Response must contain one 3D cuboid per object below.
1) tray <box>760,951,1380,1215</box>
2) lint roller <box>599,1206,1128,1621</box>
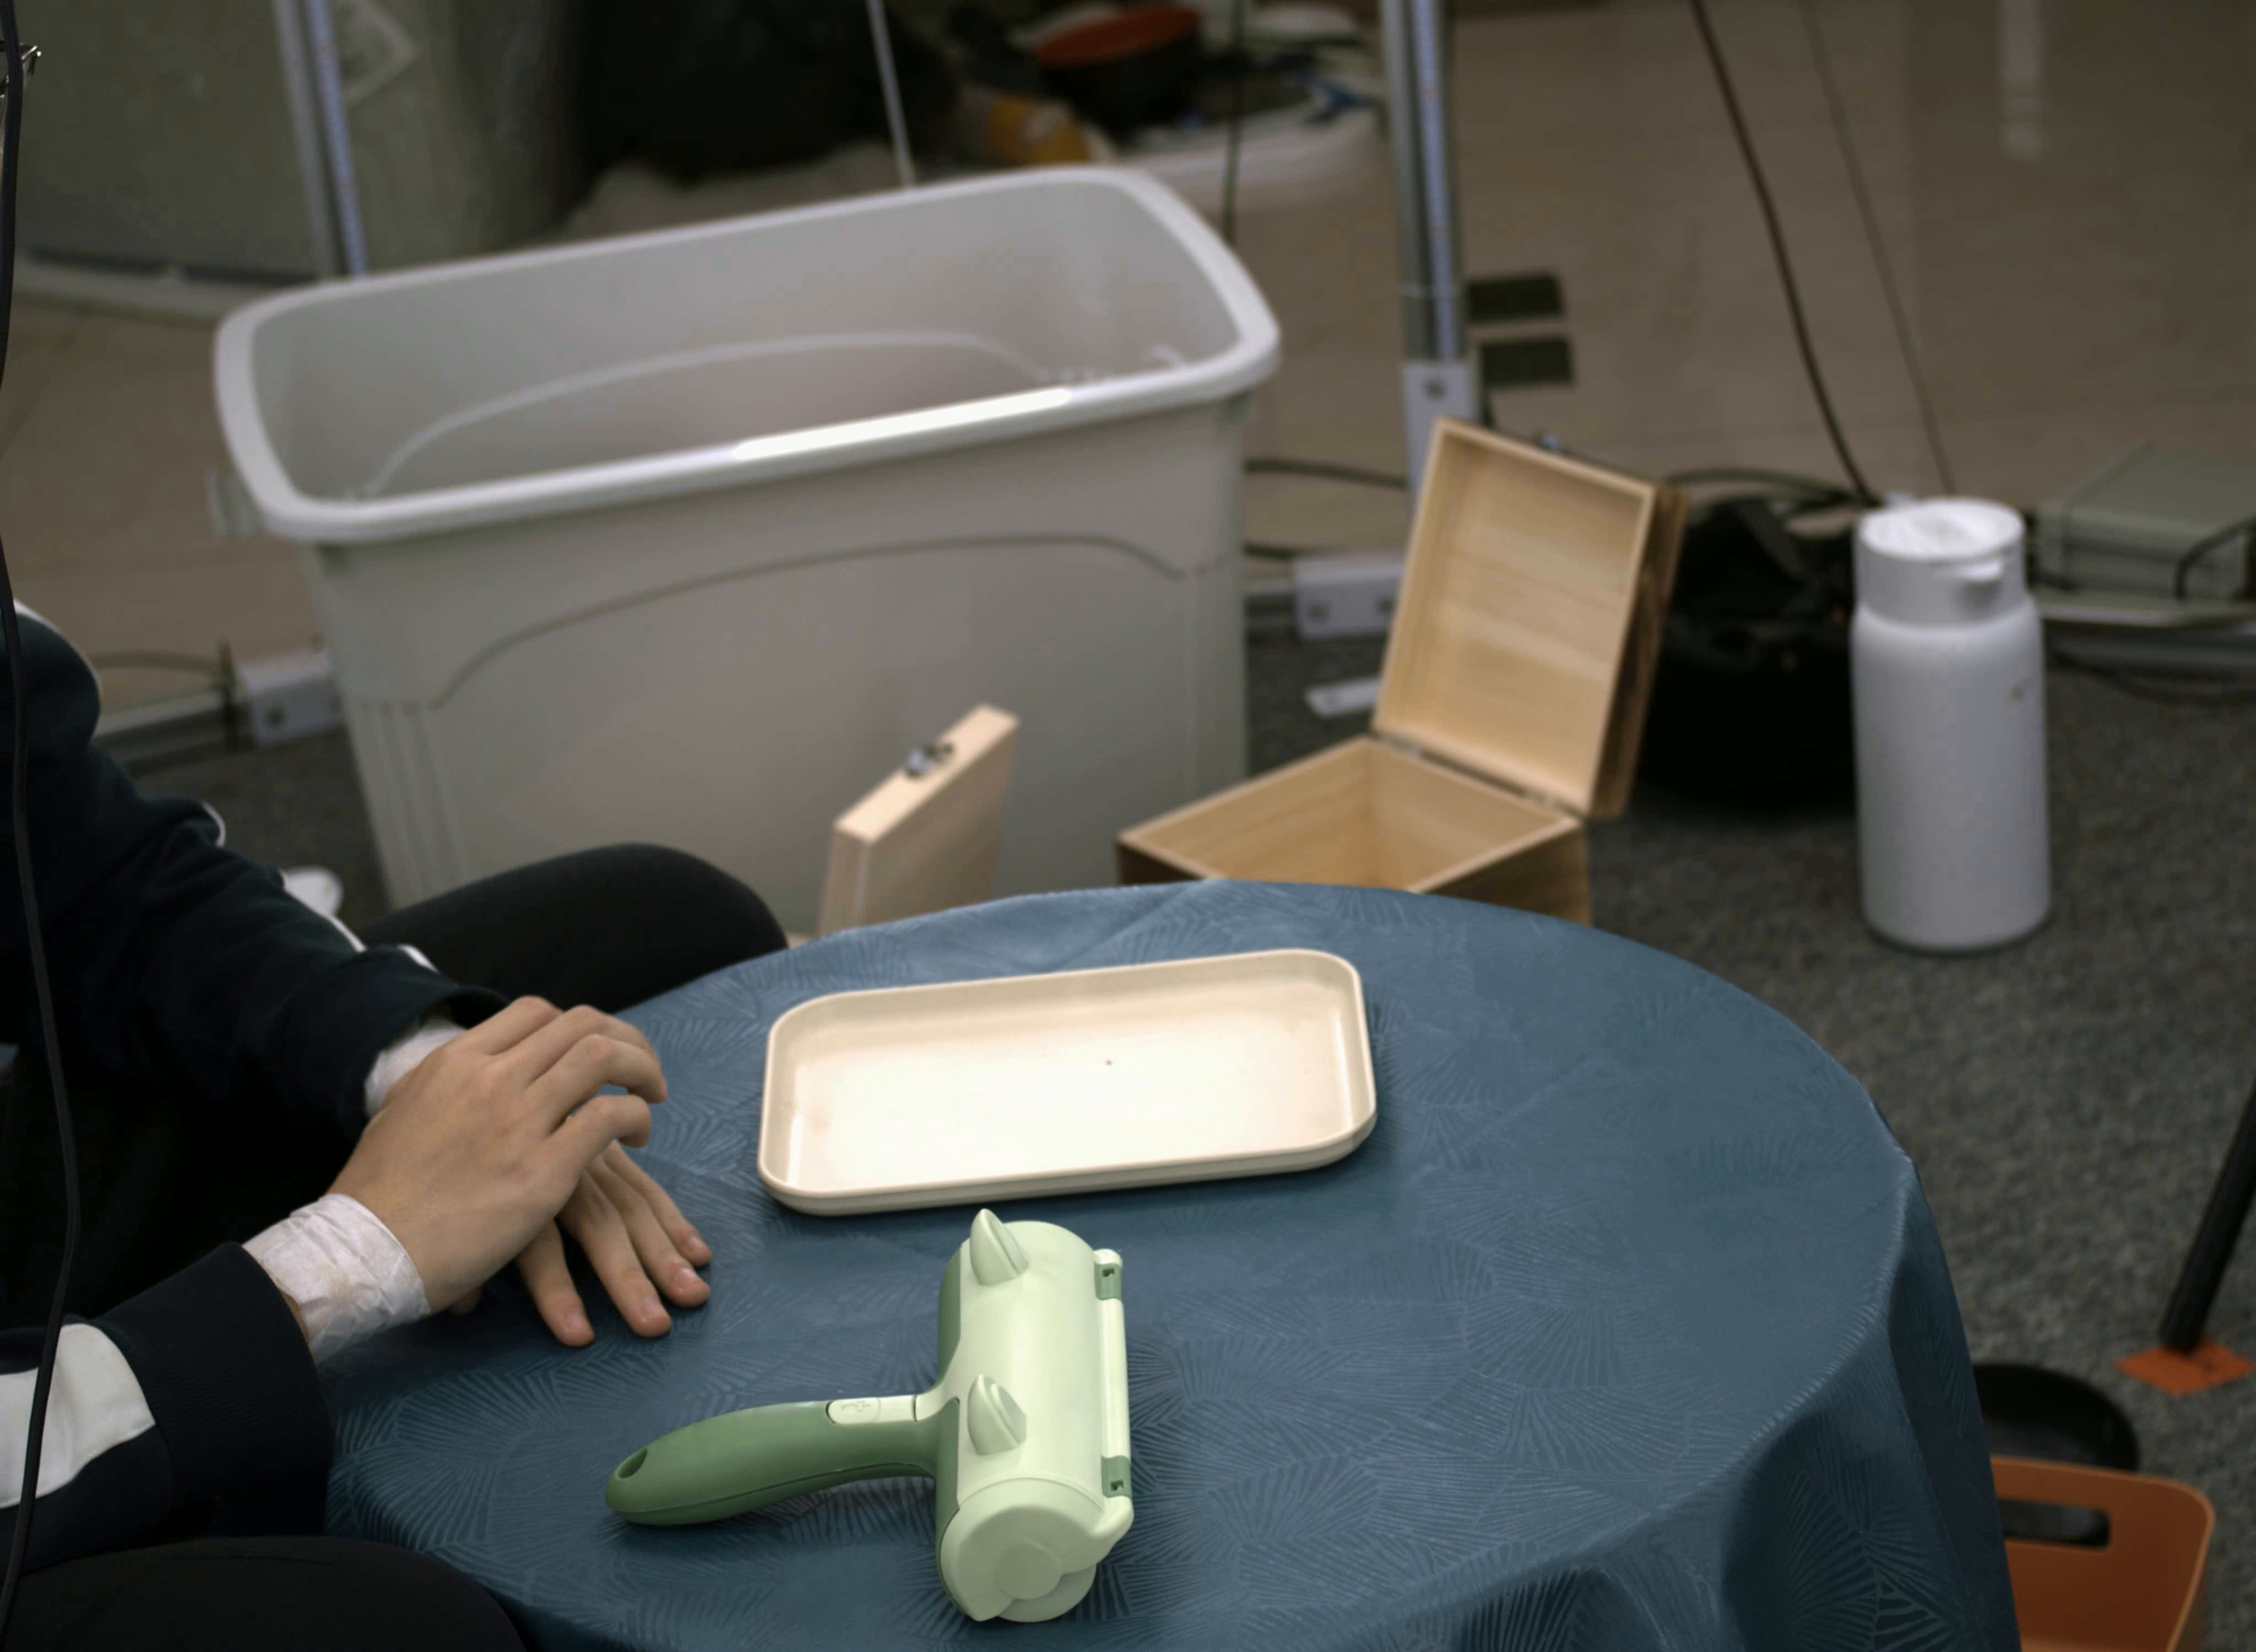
[{"bbox_3d":[-0.023,0.101,2.210,0.239,0.018,0.169,-6,24,1],"label":"tray"},{"bbox_3d":[-0.092,0.197,1.950,0.183,0.083,0.195,-2,25,0],"label":"lint roller"}]
